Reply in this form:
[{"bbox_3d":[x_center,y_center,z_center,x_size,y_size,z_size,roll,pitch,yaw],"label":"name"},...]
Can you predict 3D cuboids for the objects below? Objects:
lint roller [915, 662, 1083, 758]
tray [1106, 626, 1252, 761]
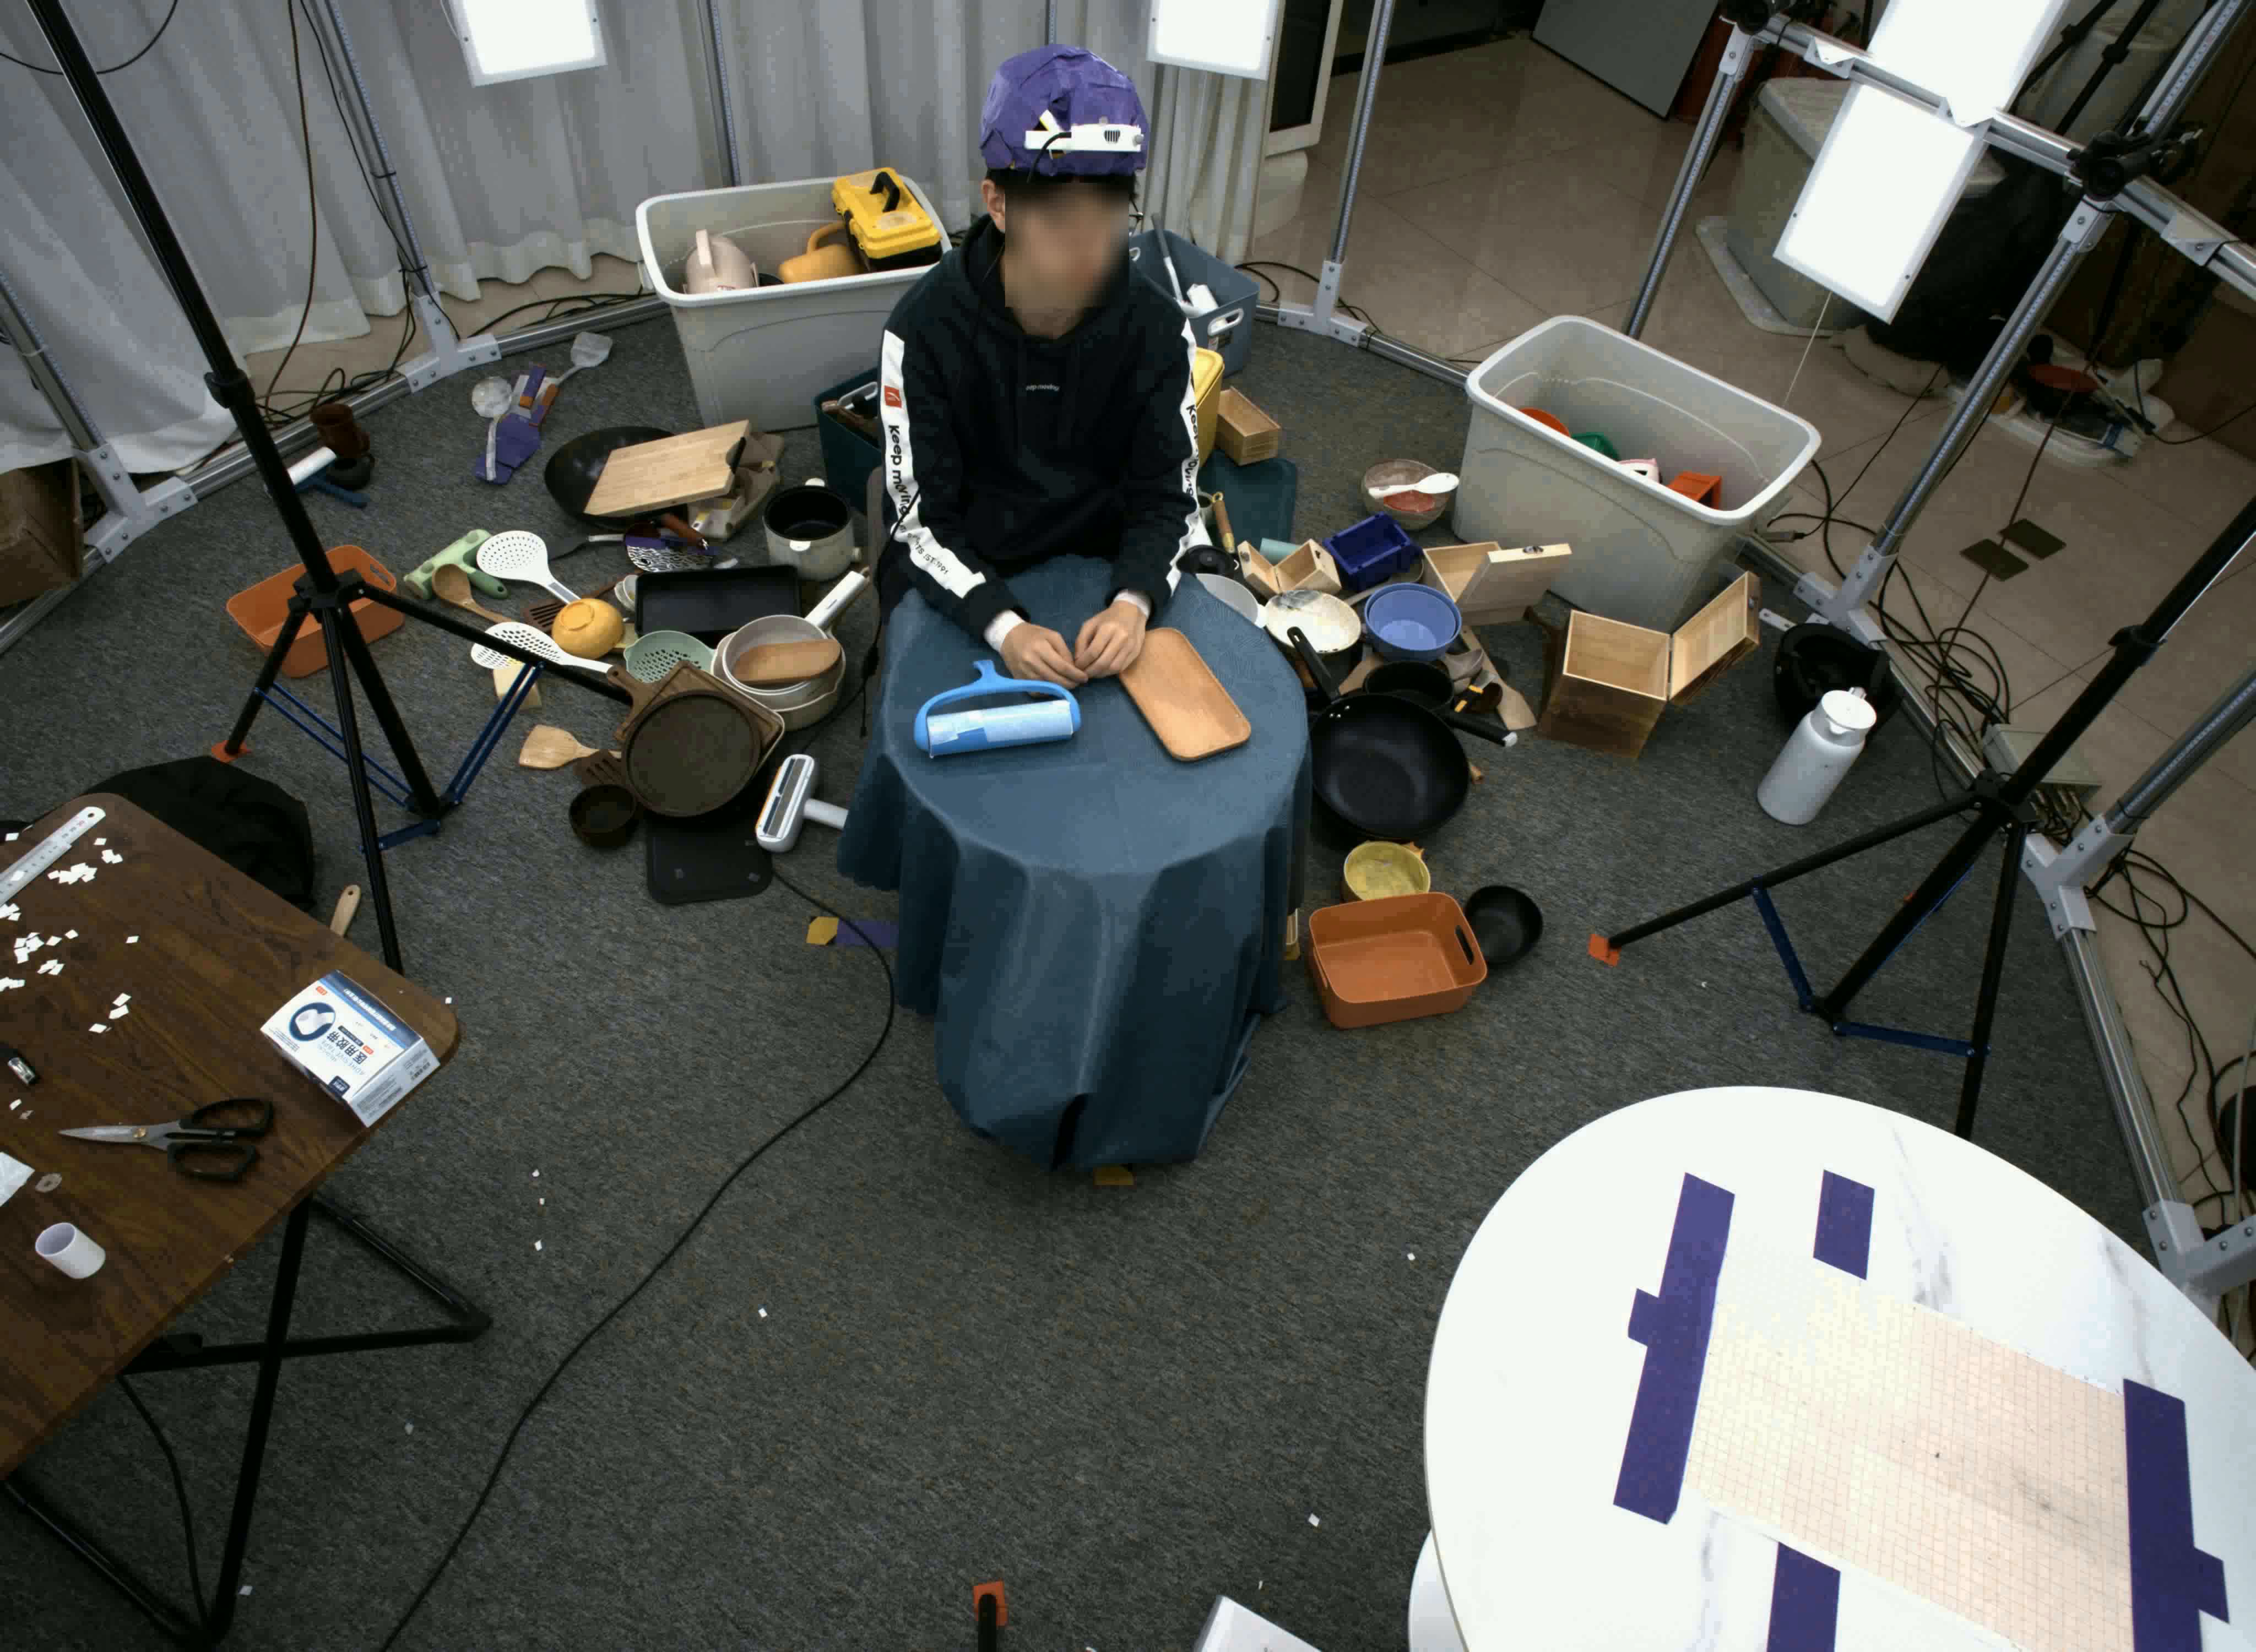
[{"bbox_3d":[-0.189,-0.179,1.774,0.229,0.066,0.185,-11,52,-11],"label":"lint roller"},{"bbox_3d":[0.070,-0.192,1.827,0.131,0.022,0.256,-16,51,-19],"label":"tray"}]
